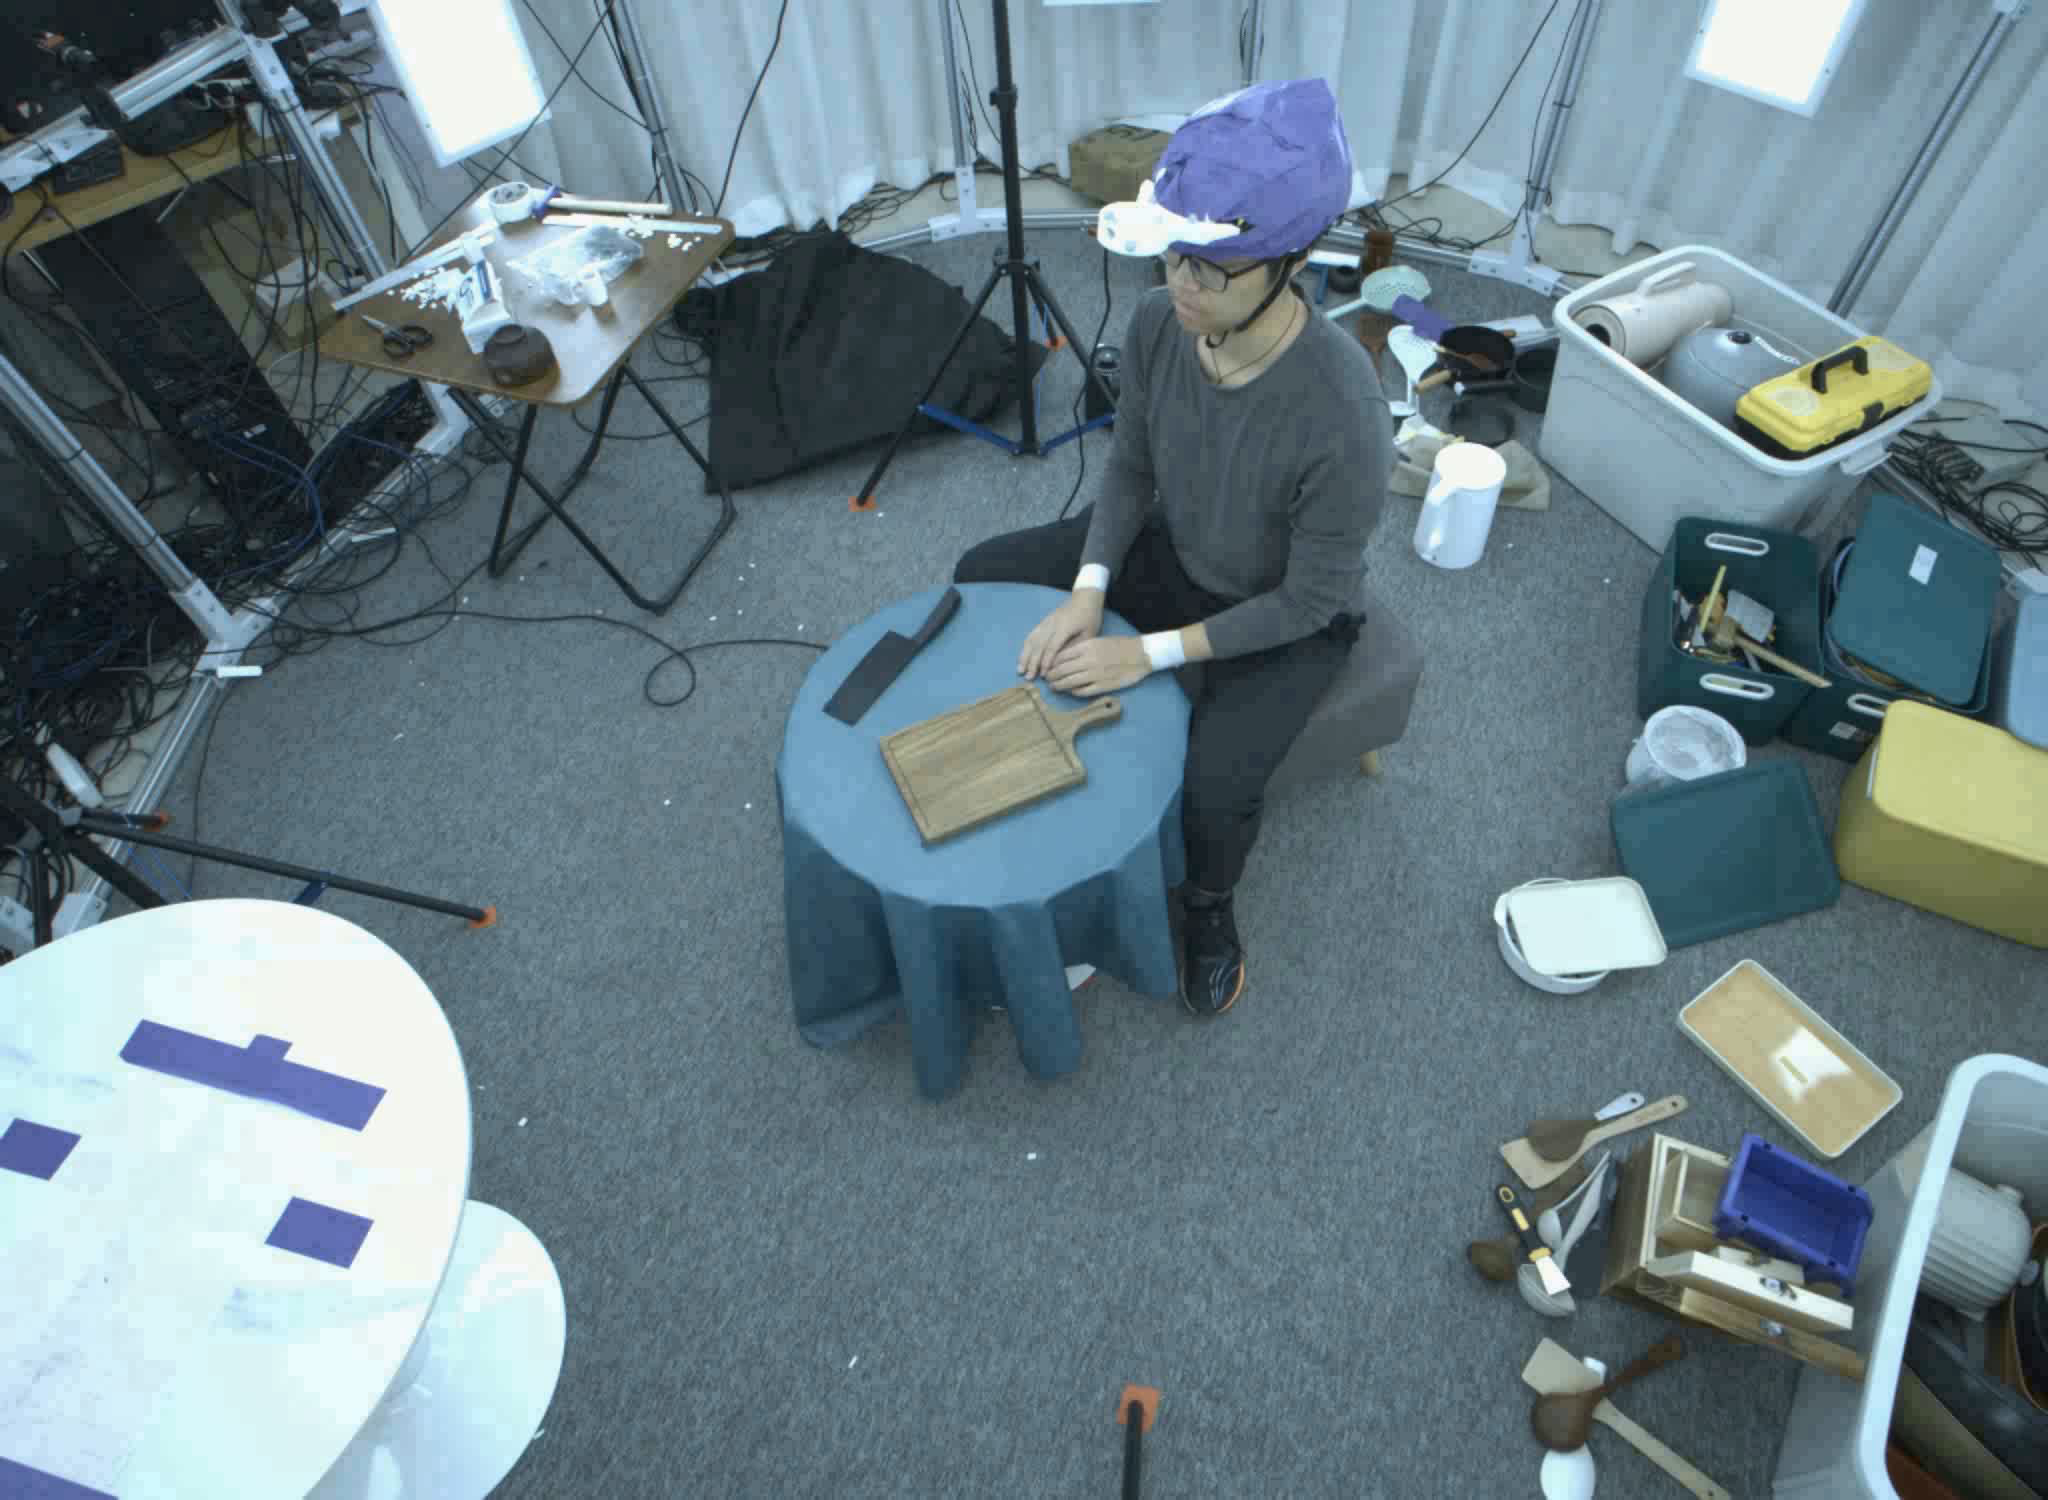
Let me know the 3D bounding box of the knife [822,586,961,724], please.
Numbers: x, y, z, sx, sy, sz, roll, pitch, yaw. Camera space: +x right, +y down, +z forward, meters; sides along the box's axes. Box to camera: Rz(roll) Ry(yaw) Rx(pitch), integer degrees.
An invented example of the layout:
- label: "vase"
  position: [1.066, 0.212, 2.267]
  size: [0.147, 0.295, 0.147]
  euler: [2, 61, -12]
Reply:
- label: "knife"
  position: [-0.199, -0.153, 1.902]
  size: [0.079, 0.021, 0.304]
  euler: [30, 62, 22]

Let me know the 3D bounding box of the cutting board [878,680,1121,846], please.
- label: "cutting board"
  position: [-0.017, -0.005, 1.785]
  size: [0.355, 0.023, 0.197]
  euler: [-22, 57, -14]
